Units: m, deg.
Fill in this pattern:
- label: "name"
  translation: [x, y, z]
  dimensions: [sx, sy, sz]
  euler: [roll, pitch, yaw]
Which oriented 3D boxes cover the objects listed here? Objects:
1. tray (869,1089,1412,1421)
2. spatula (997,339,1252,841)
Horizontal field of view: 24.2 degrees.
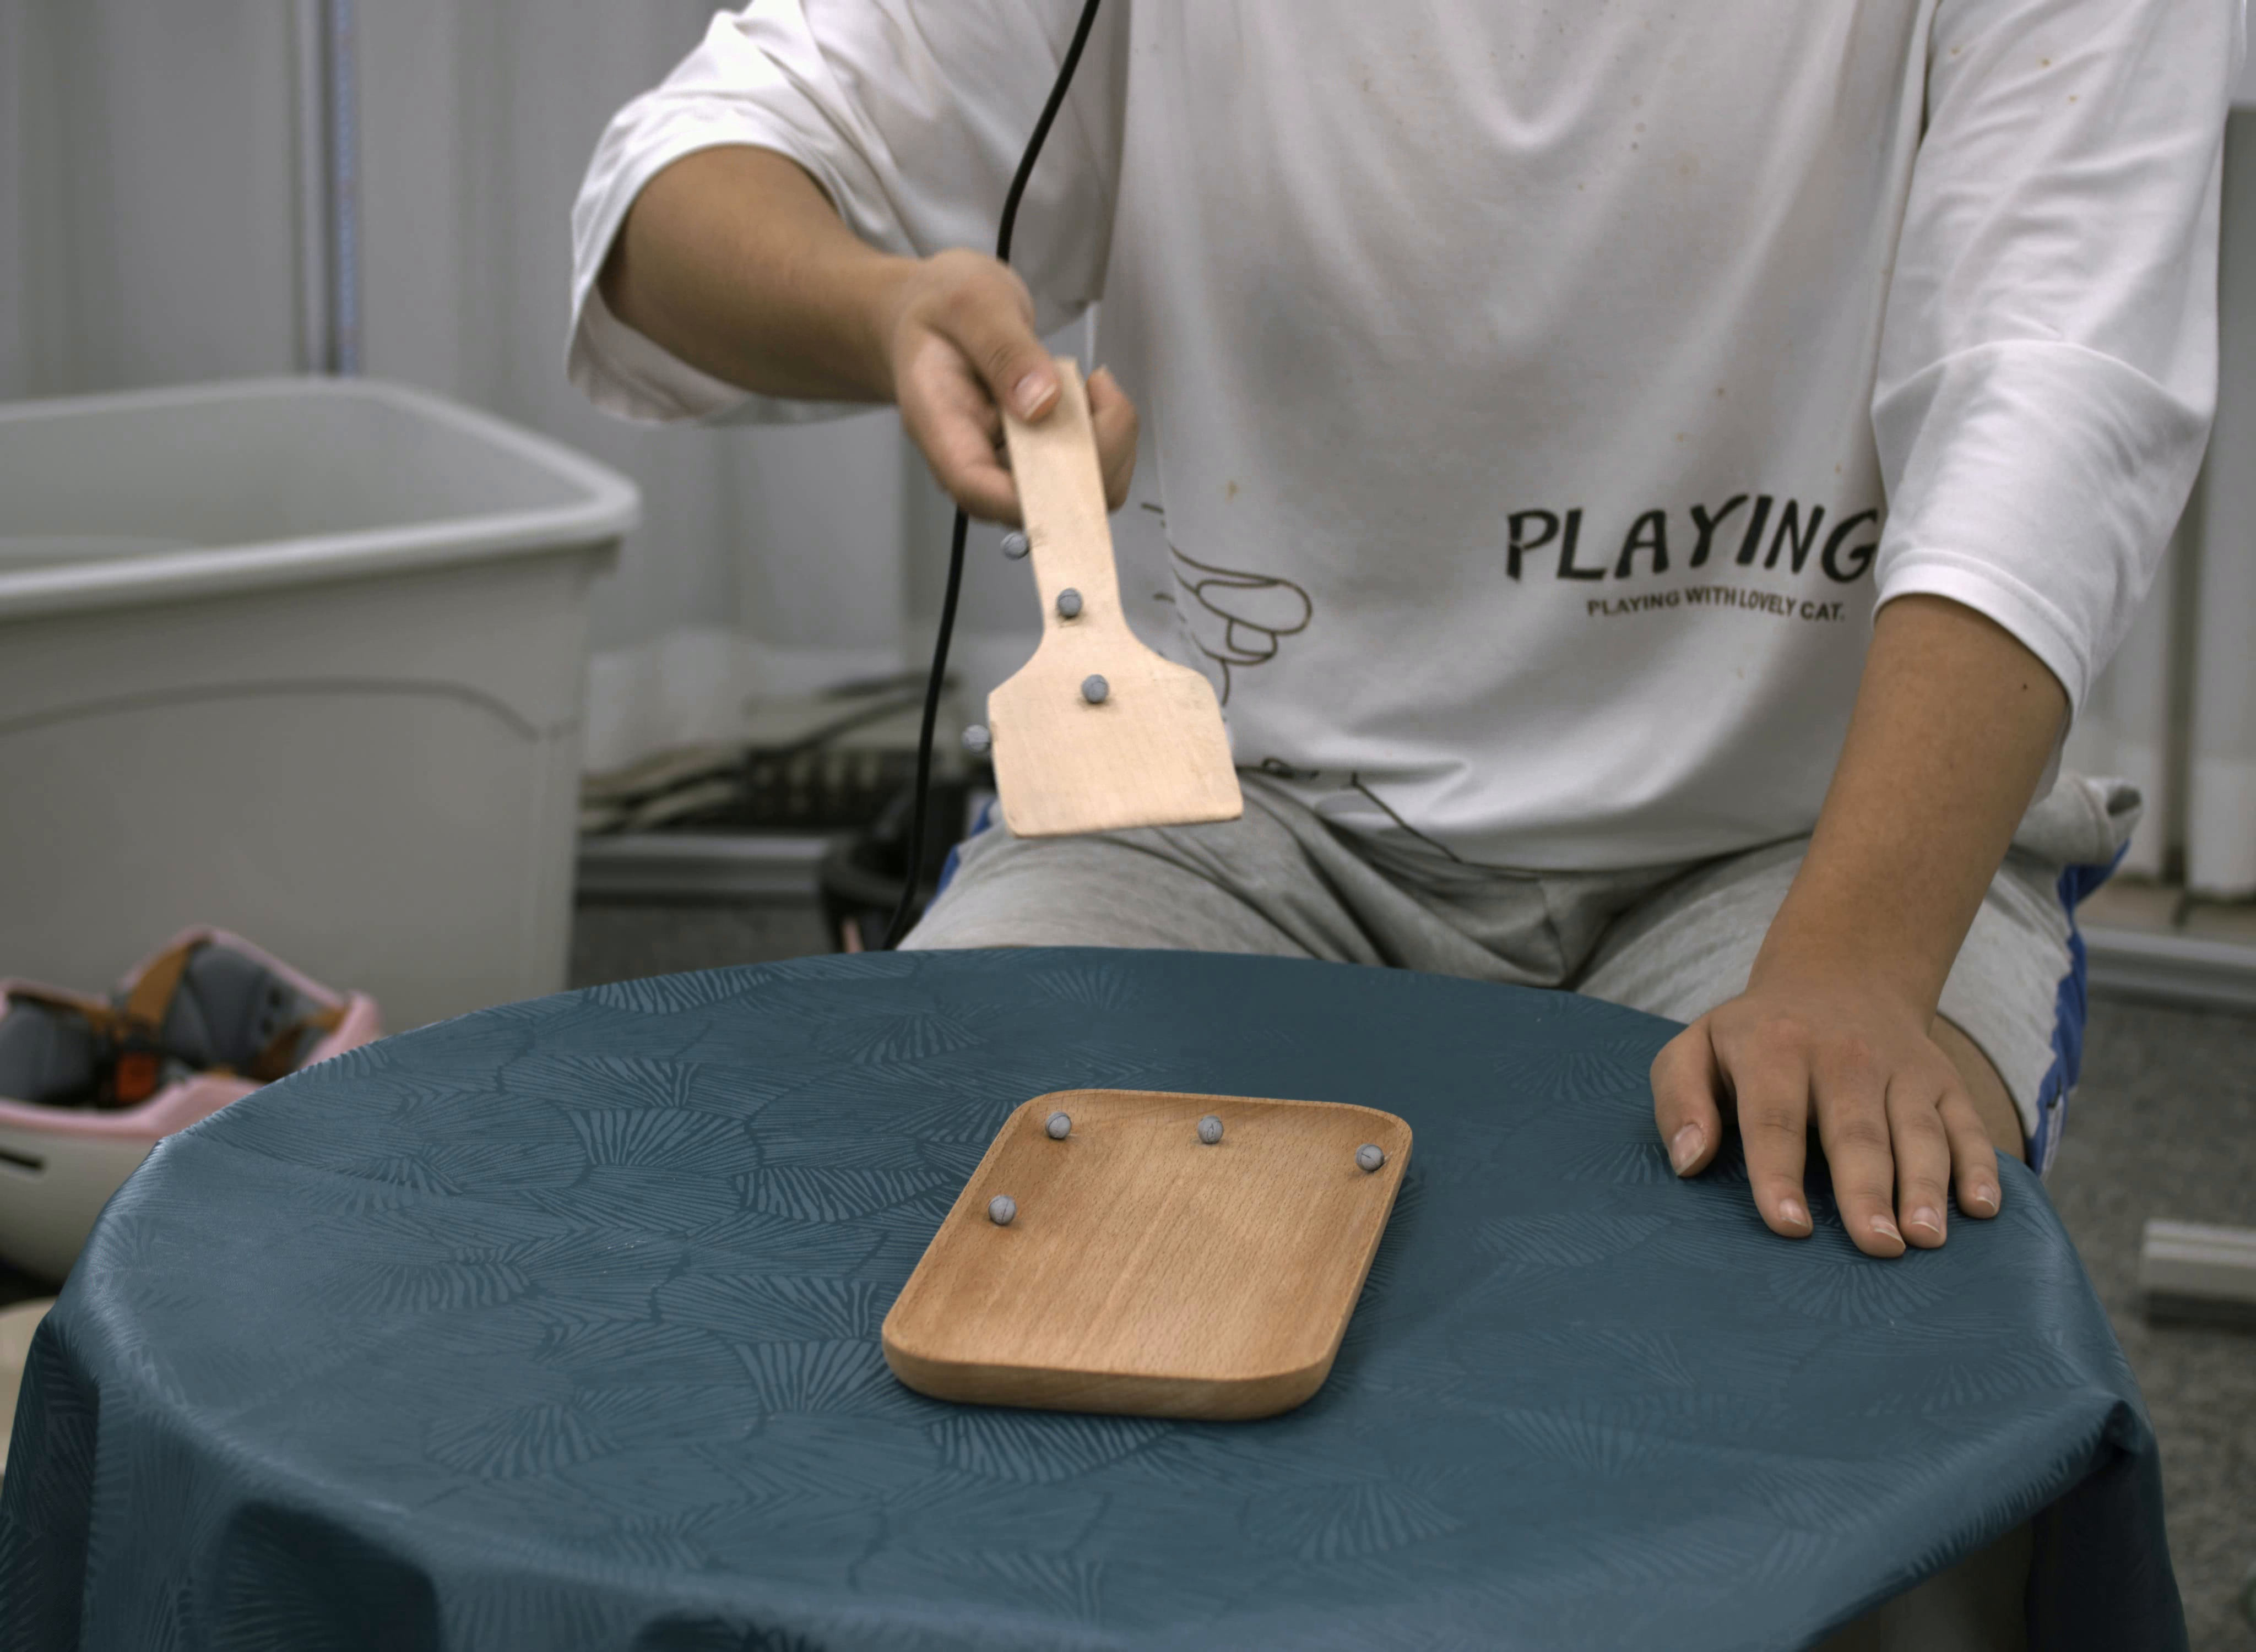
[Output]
- label: "tray"
  translation: [0.008, 0.124, 1.558]
  dimensions: [0.129, 0.023, 0.250]
  euler: [1, 15, 11]
- label: "spatula"
  translation: [-0.014, -0.079, 1.648]
  dimensions: [0.072, 0.011, 0.290]
  euler: [-5, 35, -4]
